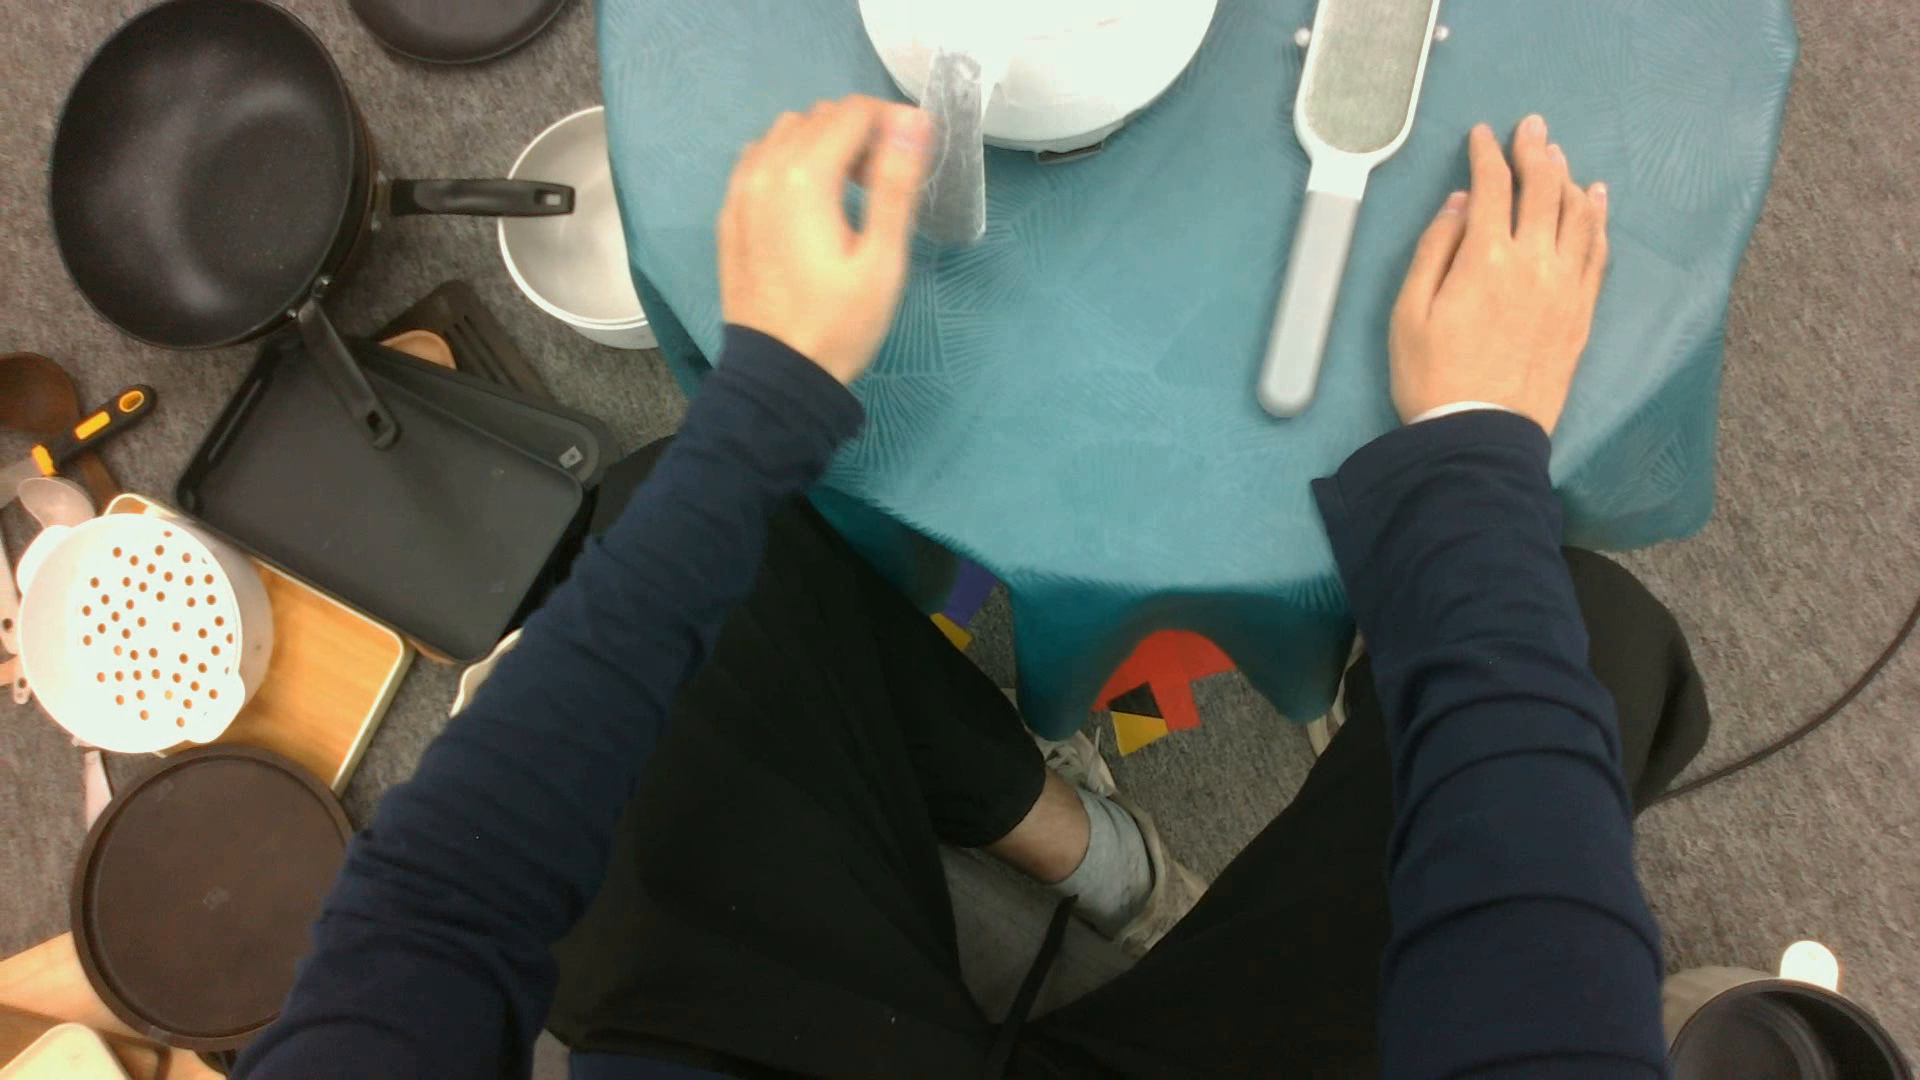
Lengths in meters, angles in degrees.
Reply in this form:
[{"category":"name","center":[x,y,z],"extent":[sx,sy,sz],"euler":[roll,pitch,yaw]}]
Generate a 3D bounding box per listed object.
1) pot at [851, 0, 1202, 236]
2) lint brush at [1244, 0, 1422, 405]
[{"category":"pot","center":[0.021,-0.263,0.635],"extent":[0.178,0.136,0.234],"euler":[17,82,7]},{"category":"lint brush","center":[0.184,-0.213,0.678],"extent":[0.060,0.021,0.309],"euler":[15,82,-2]}]
